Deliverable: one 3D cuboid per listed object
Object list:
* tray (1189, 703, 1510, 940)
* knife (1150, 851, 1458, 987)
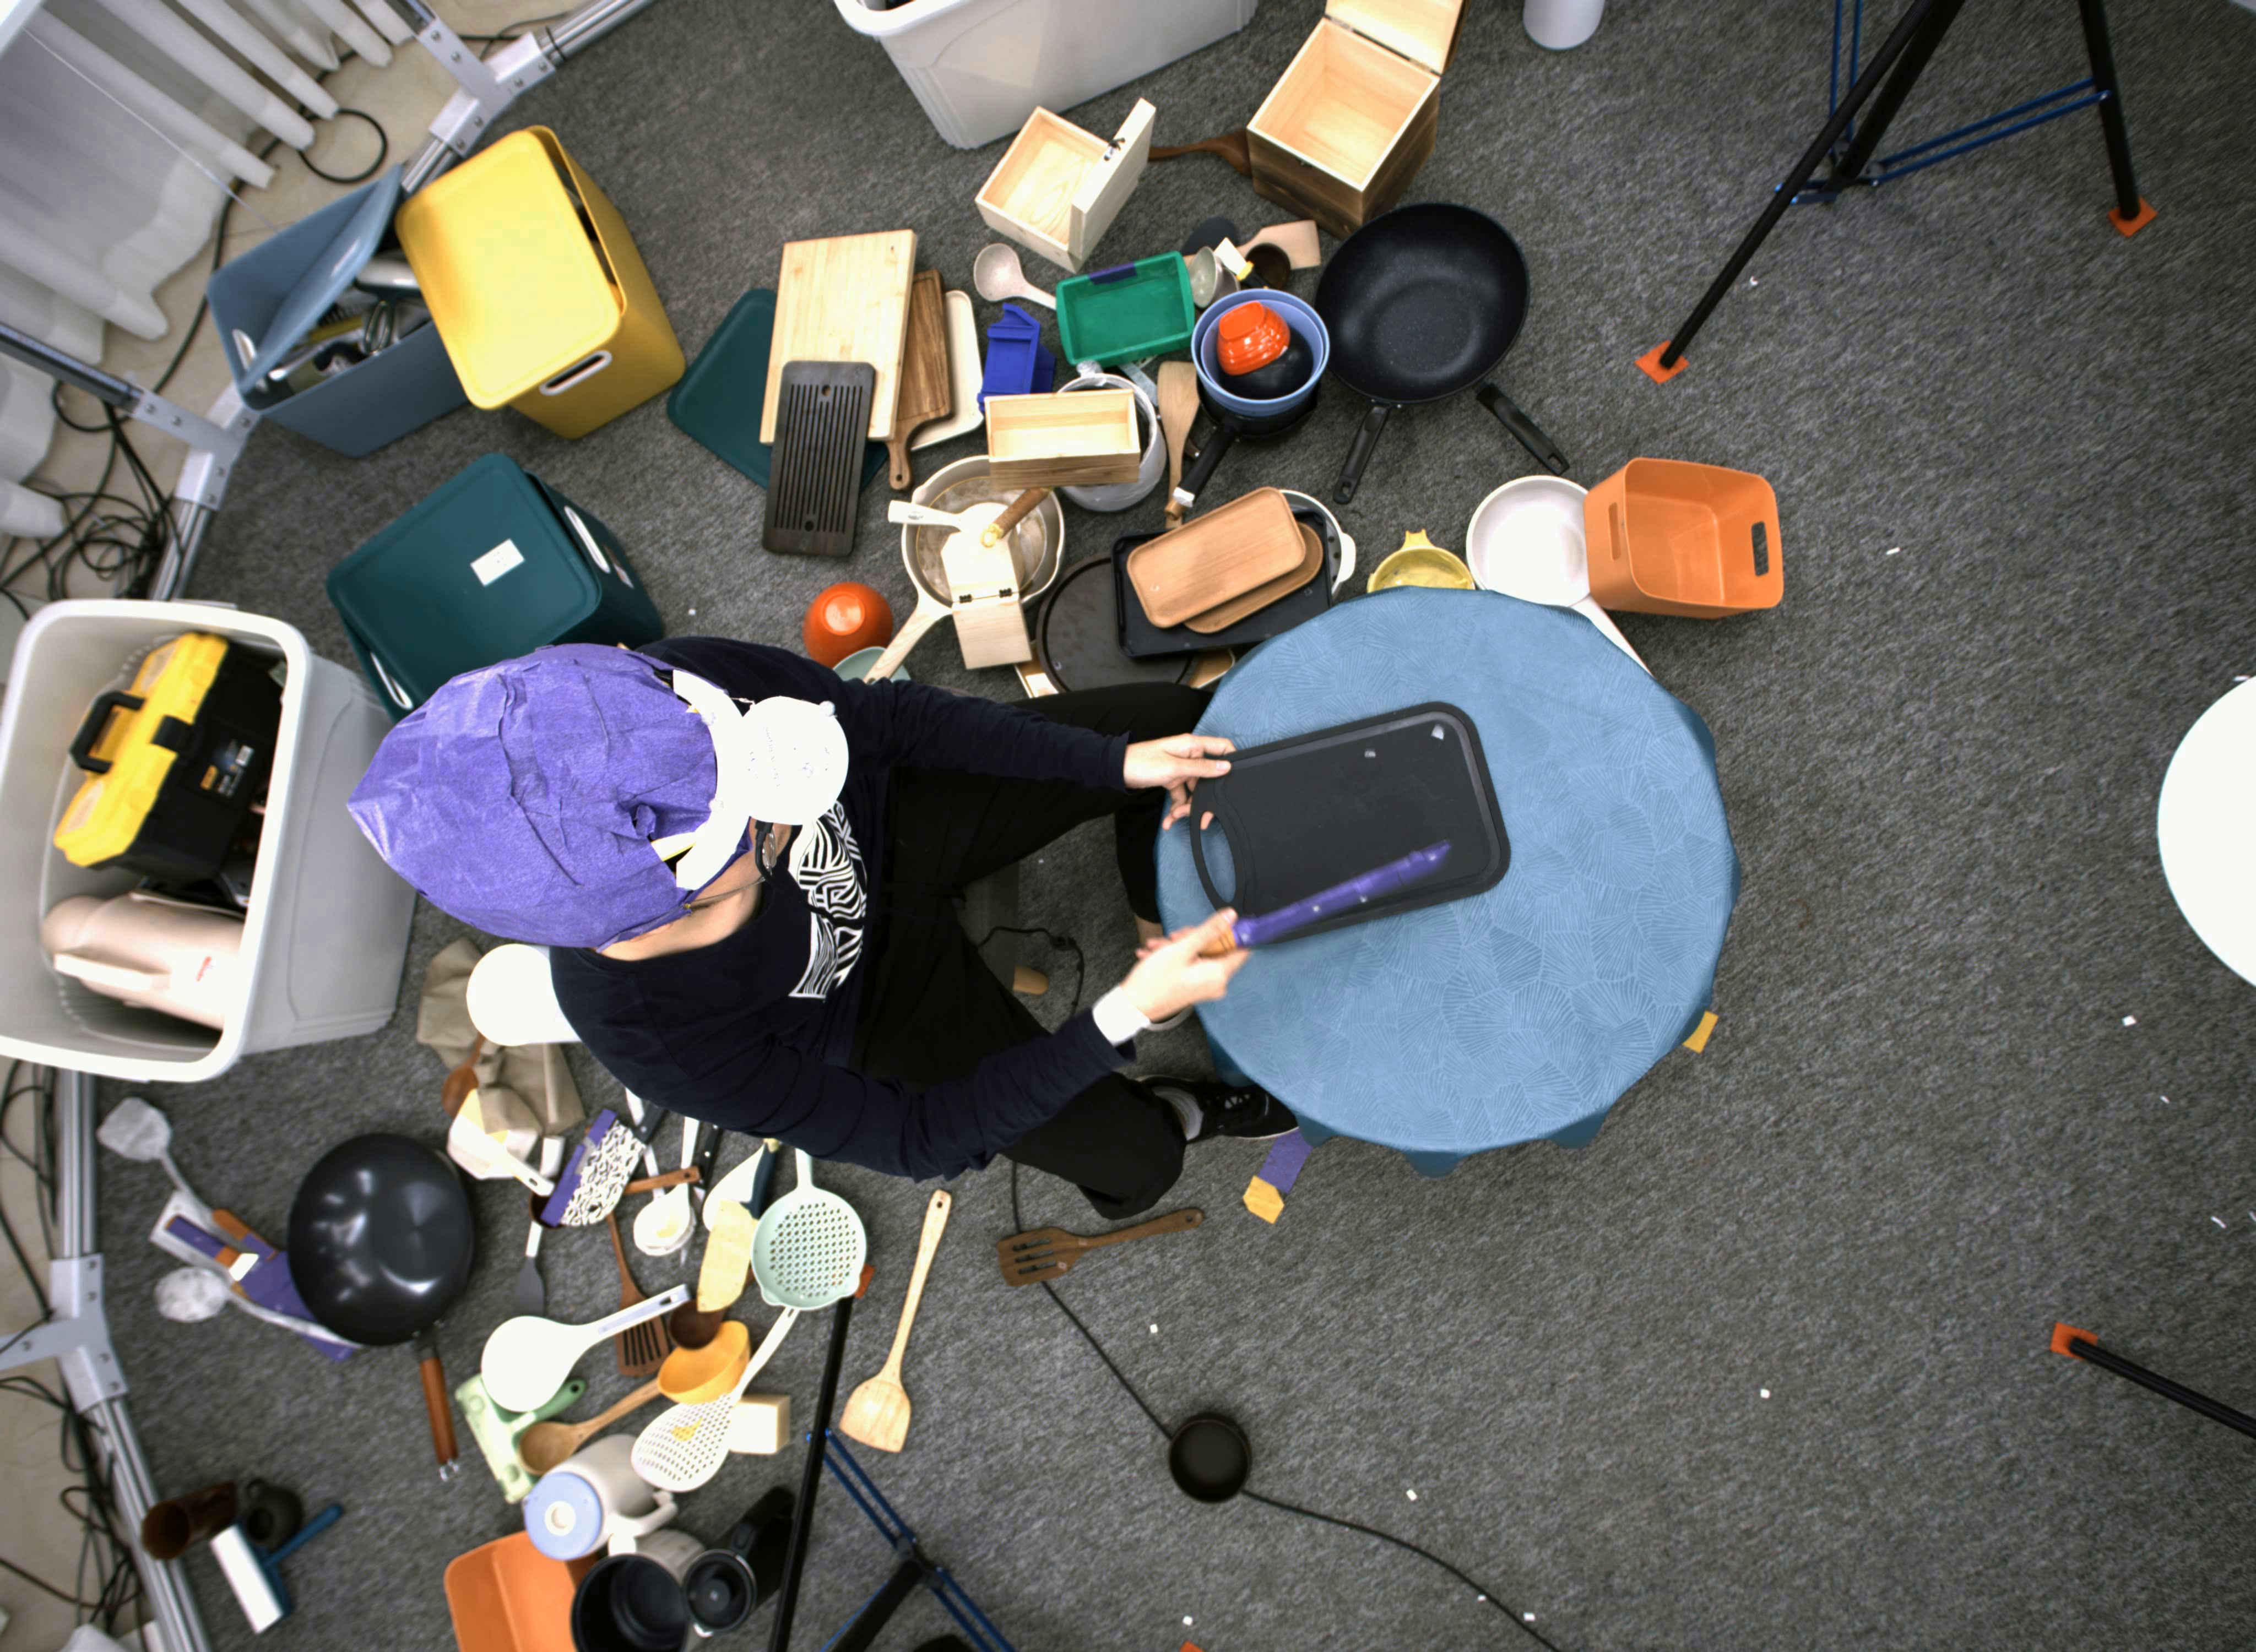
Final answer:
[{"bbox_3d":[0.228,-0.002,1.455,0.326,0.010,0.210,-14,84,5],"label":"tray"},{"bbox_3d":[0.178,0.097,1.365,0.317,0.105,0.032,-21,70,8],"label":"knife"}]
